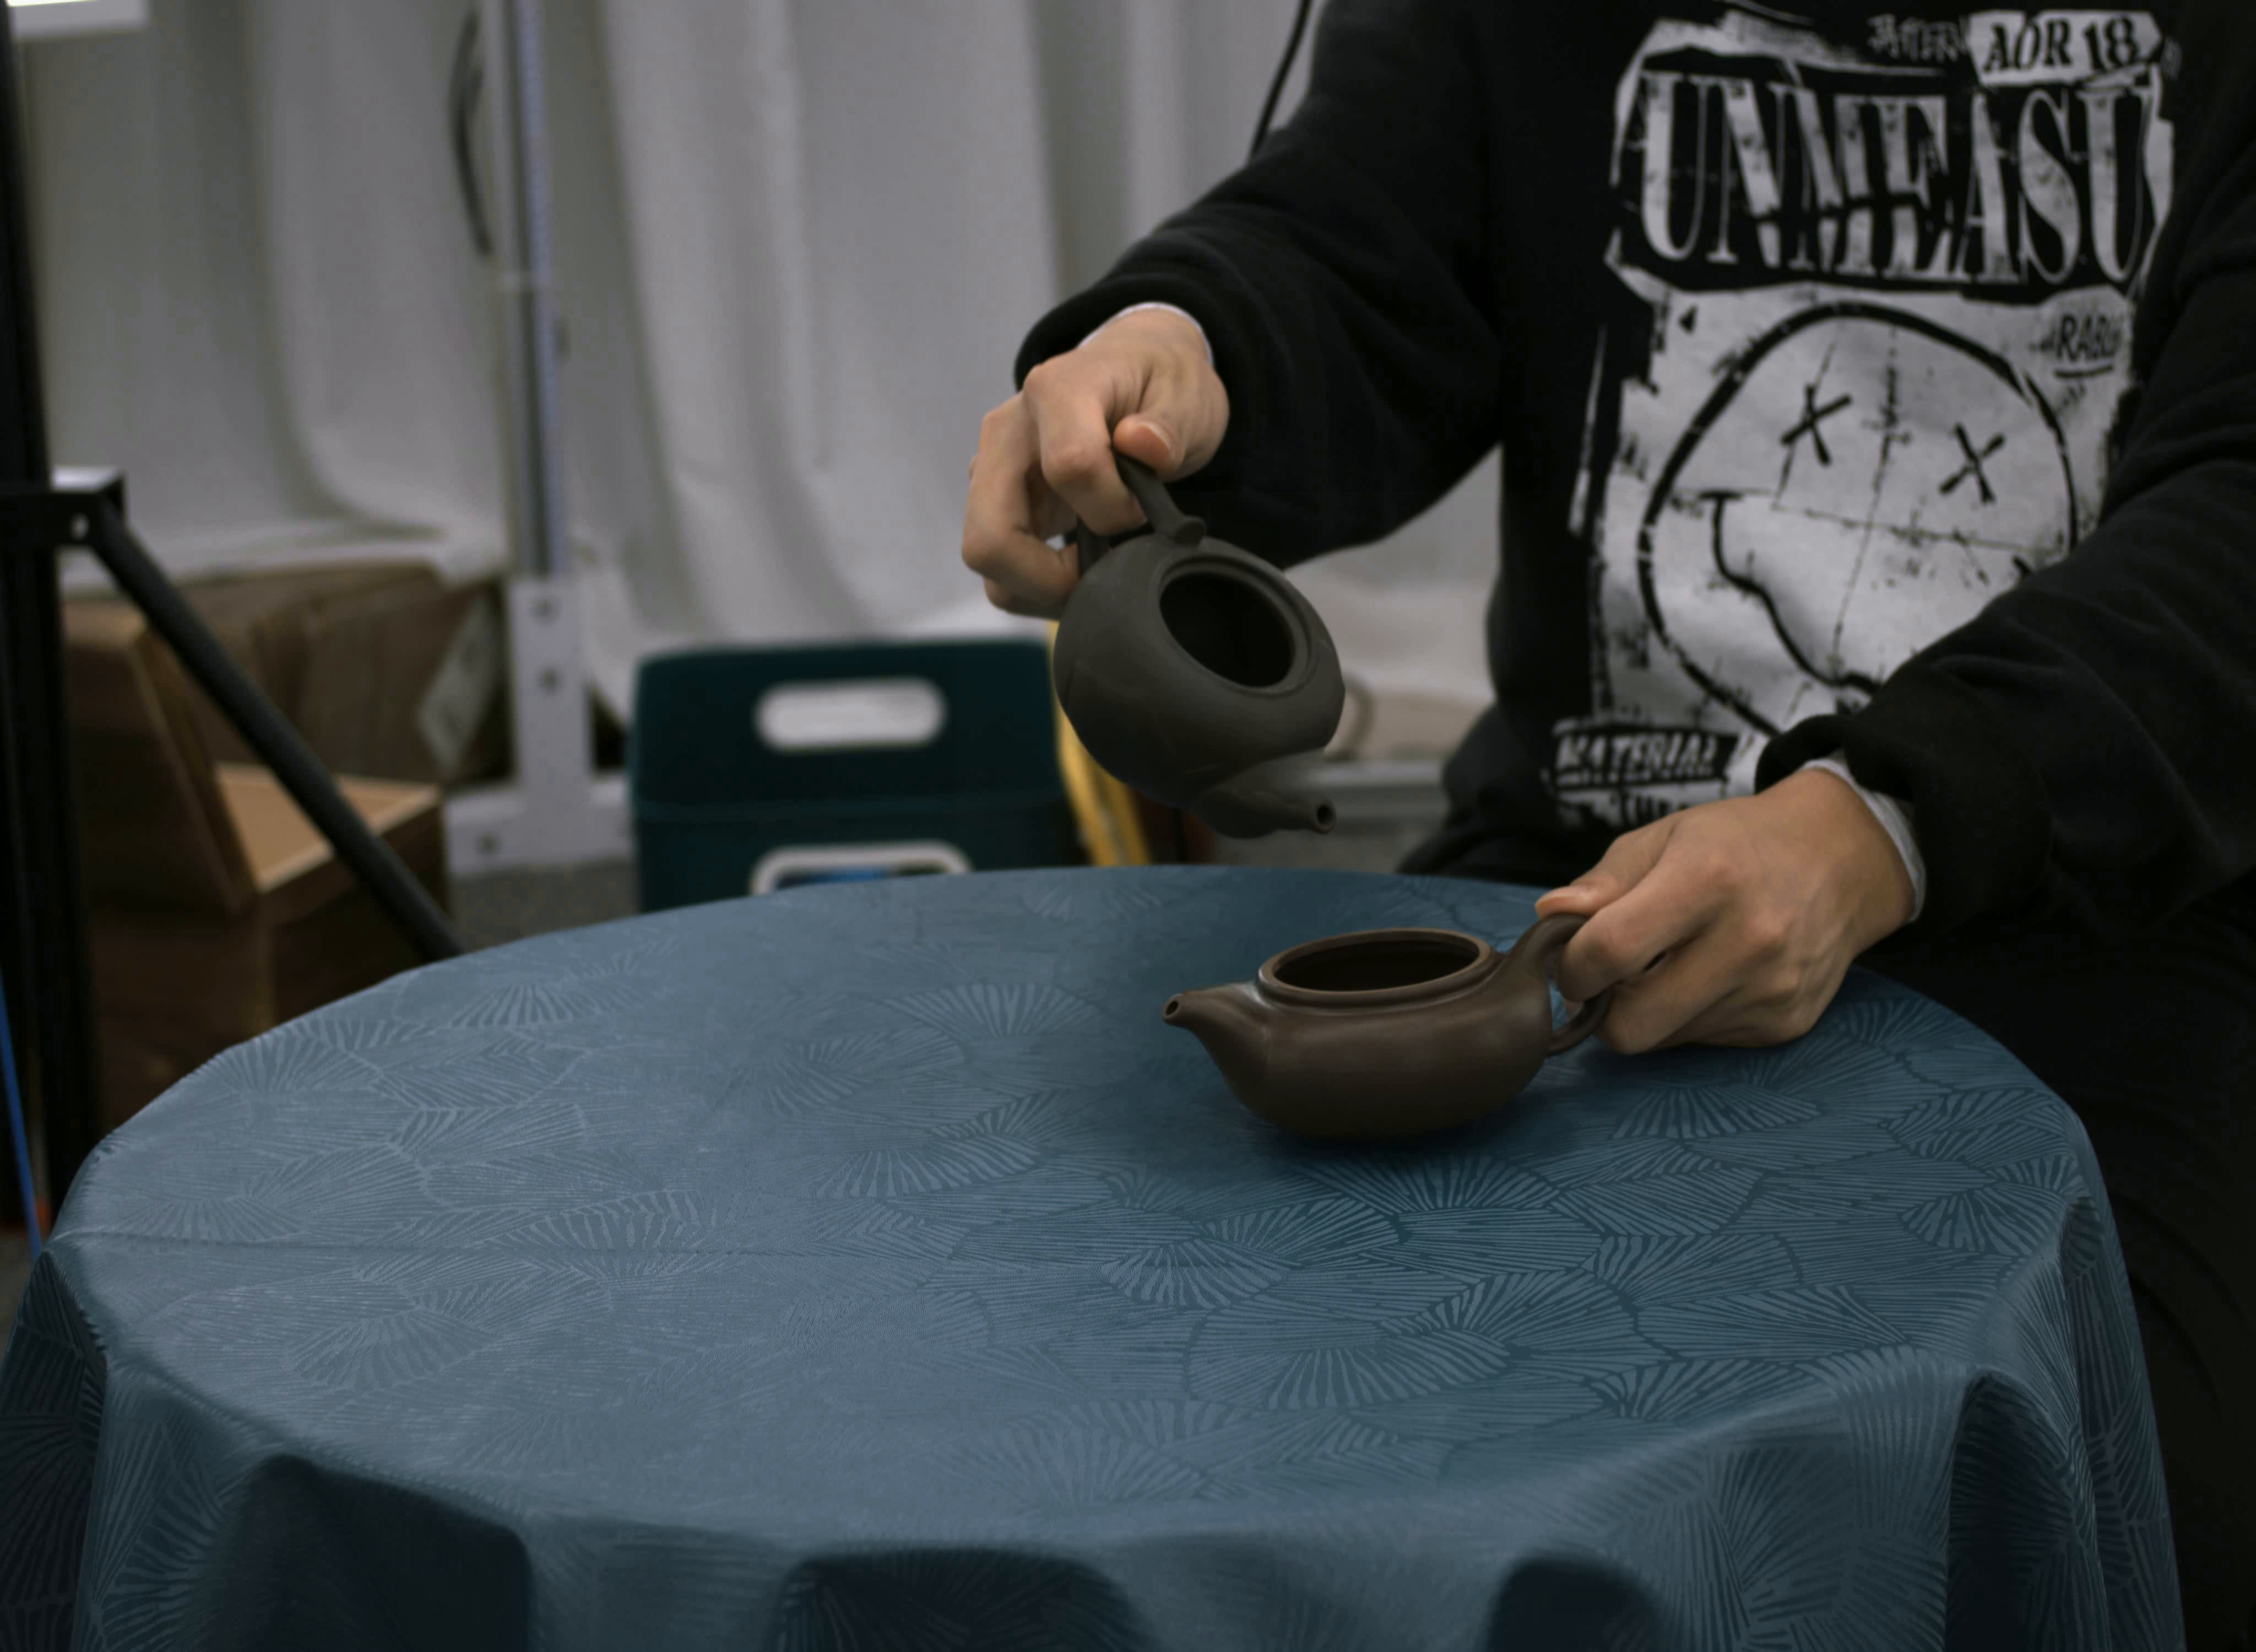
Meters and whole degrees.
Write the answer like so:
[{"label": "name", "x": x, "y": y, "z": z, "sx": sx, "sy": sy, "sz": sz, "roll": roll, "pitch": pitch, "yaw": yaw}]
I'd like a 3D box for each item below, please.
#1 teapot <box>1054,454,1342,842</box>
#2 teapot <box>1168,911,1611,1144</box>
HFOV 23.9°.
[{"label": "teapot", "x": 0.020, "y": -0.048, "z": 1.637, "sx": 0.090, "sy": 0.065, "sz": 0.157, "roll": -1, "pitch": 53, "yaw": -38}, {"label": "teapot", "x": 0.081, "y": 0.060, "z": 1.603, "sx": 0.150, "sy": 0.054, "sz": 0.105, "roll": -15, "pitch": 18, "yaw": -28}]
